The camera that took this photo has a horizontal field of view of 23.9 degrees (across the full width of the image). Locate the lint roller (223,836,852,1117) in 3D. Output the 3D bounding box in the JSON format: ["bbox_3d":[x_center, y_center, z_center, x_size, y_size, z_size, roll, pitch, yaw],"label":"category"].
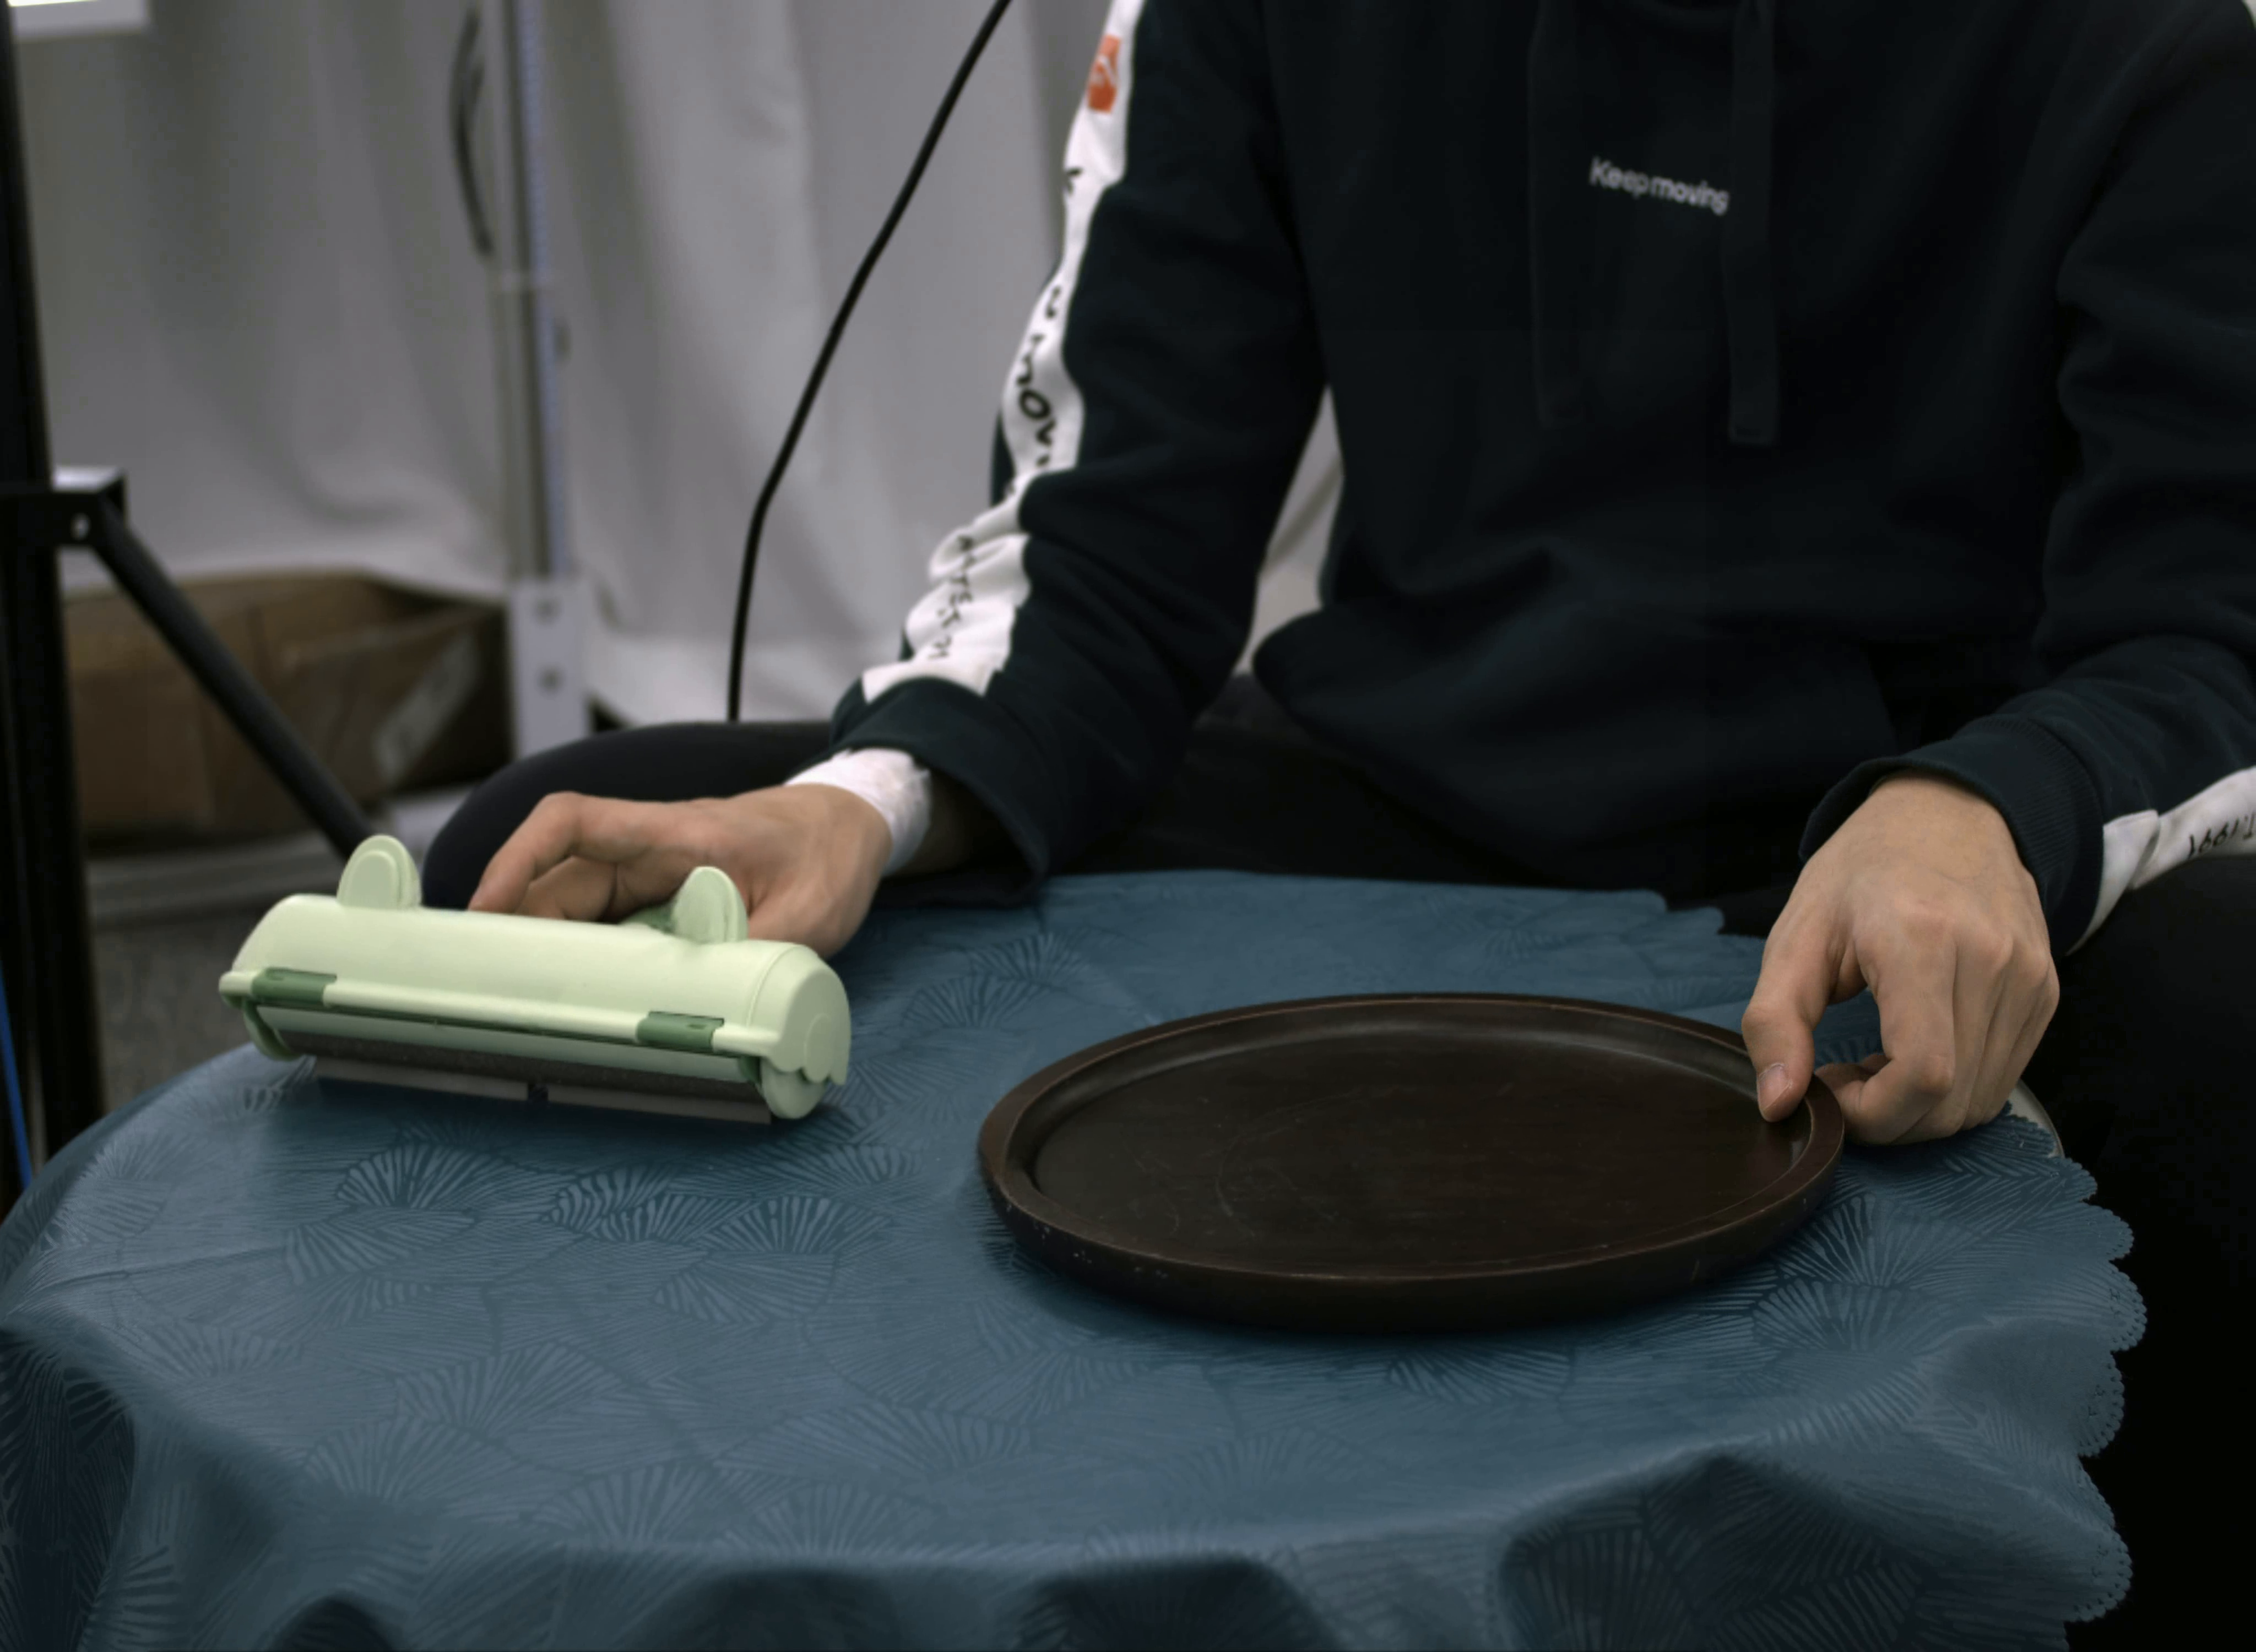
[{"bbox_3d":[-0.162,0.031,1.708,0.201,0.082,0.181,5,21,25],"label":"lint roller"}]

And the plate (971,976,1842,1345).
[{"bbox_3d":[0.081,0.097,1.538,0.253,0.029,0.256,-4,16,0],"label":"plate"}]
